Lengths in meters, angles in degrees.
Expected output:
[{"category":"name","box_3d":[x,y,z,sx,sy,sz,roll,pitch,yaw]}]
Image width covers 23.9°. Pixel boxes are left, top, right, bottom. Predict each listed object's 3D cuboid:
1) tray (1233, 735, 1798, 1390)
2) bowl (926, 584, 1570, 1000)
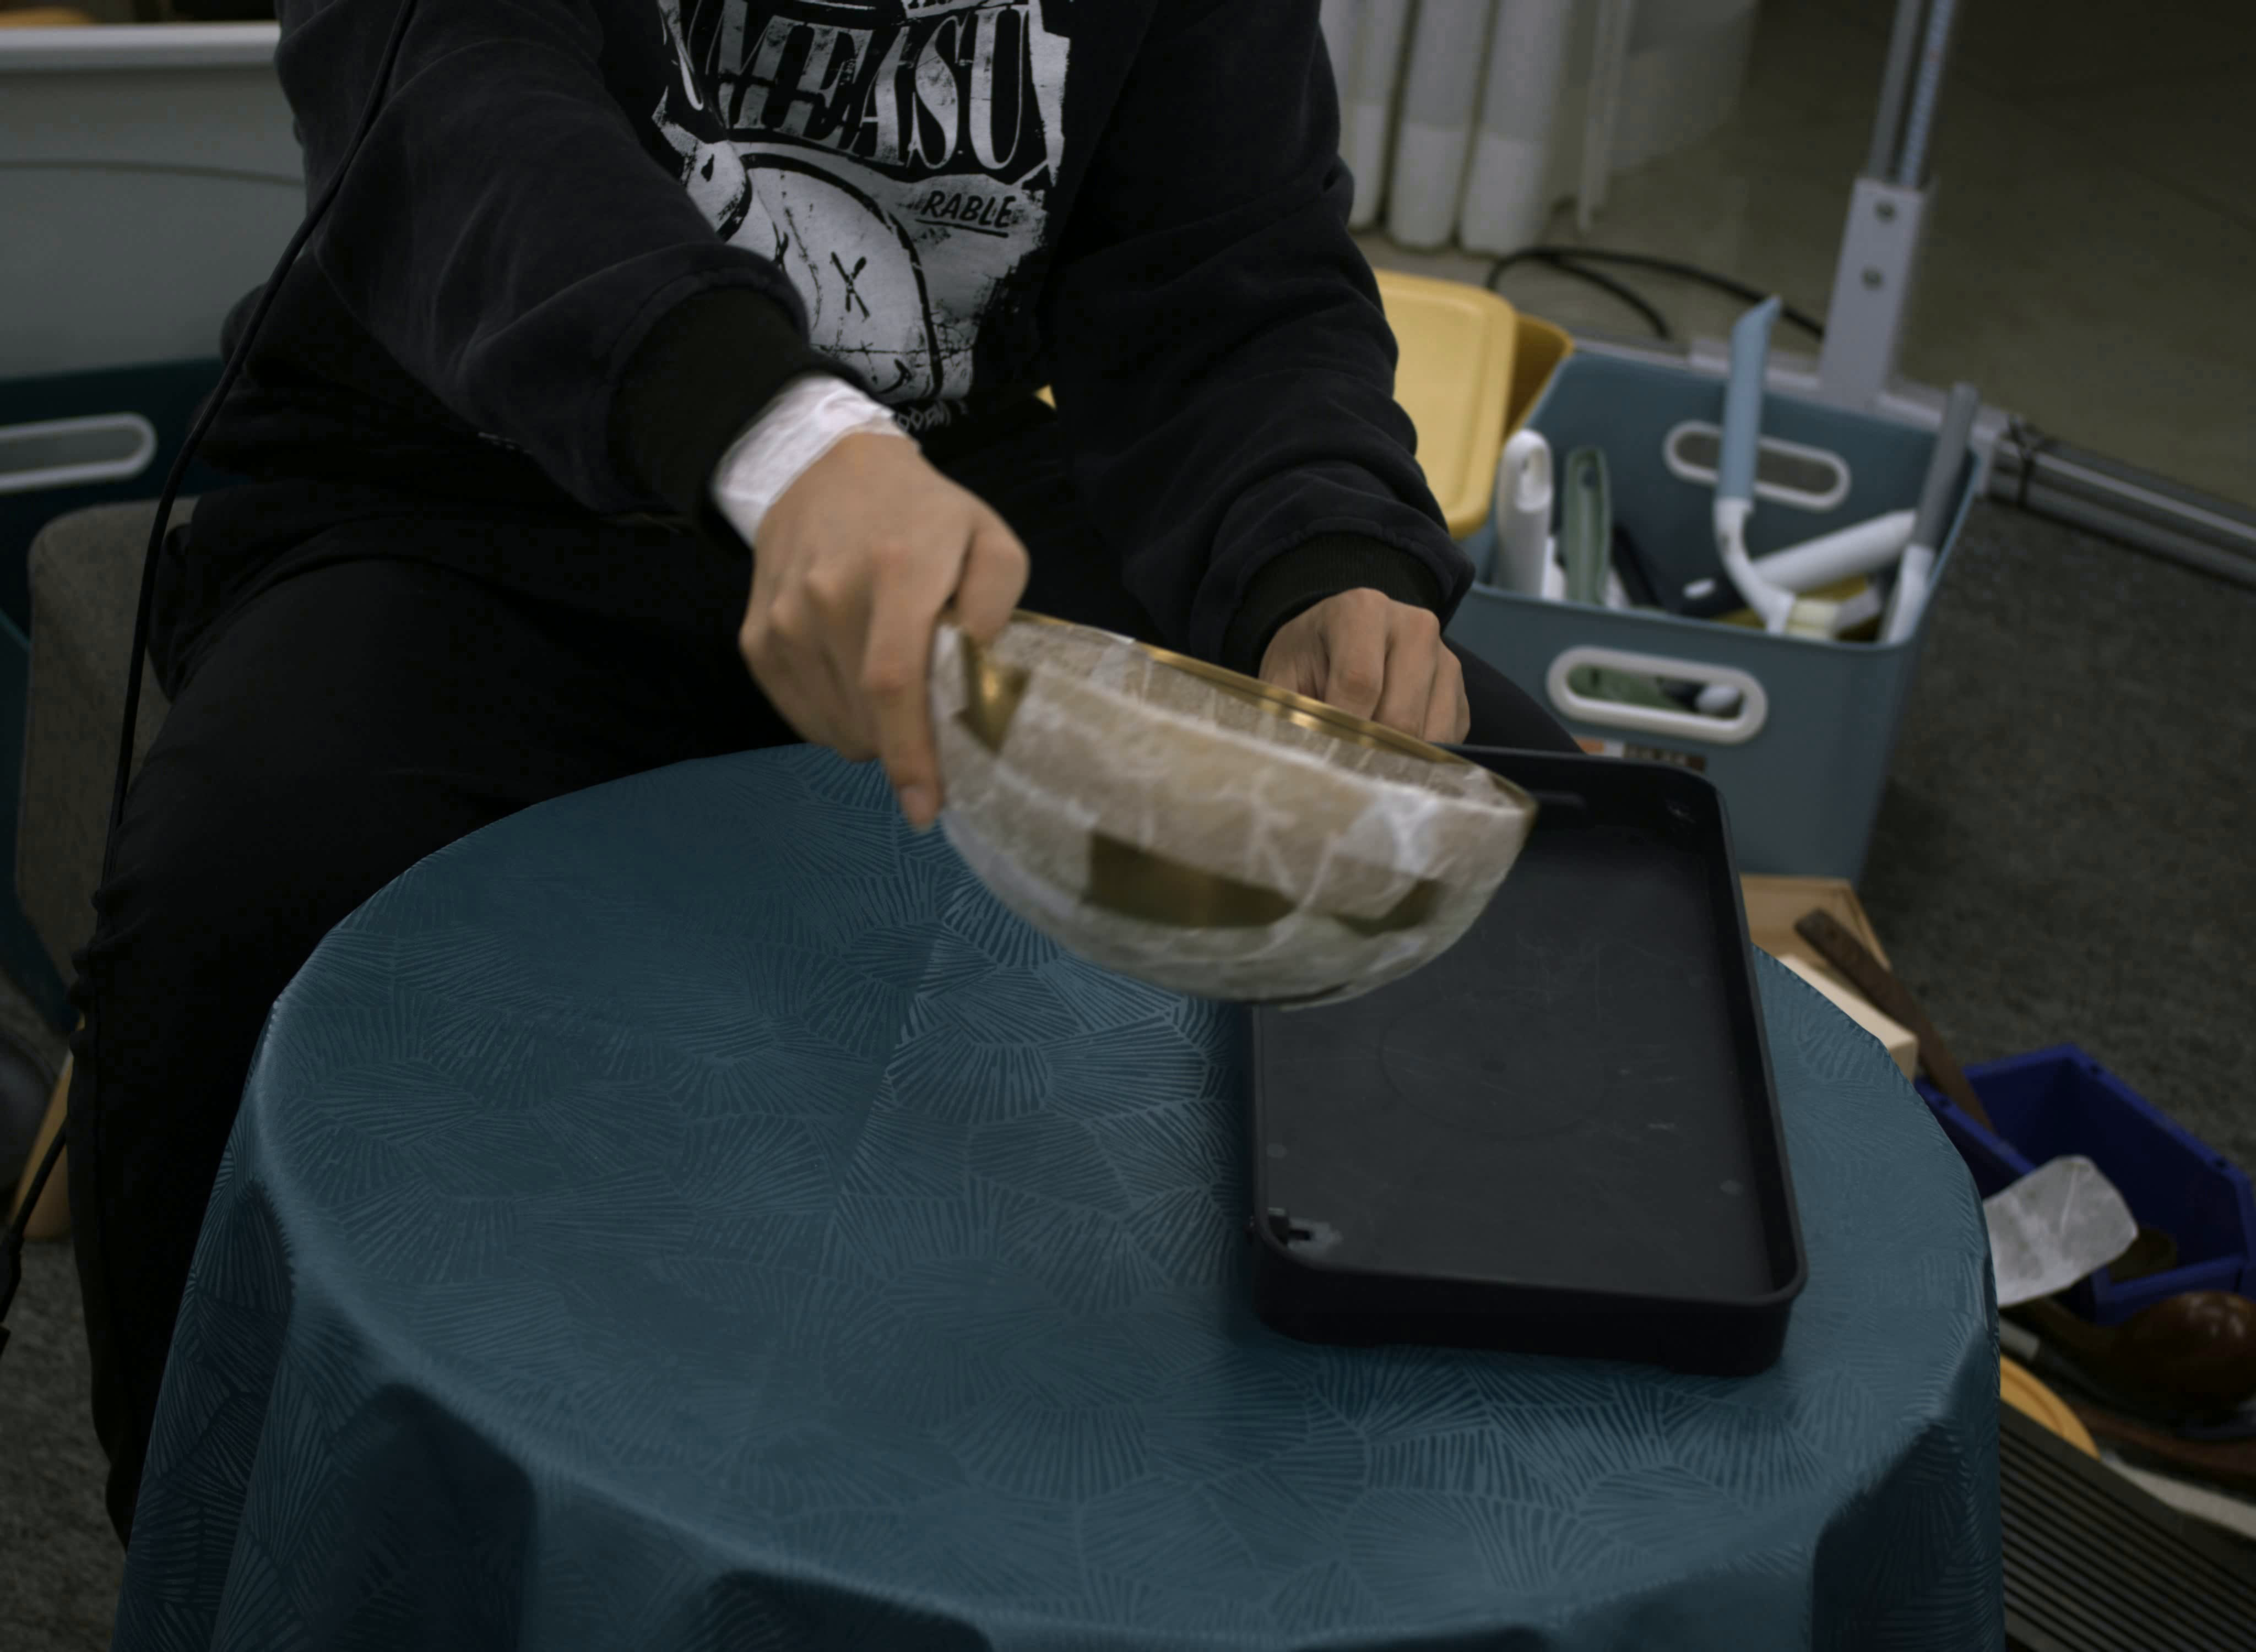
[{"category":"tray","box_3d":[0.128,0.074,1.851,0.183,0.037,0.320,6,35,-2]},{"category":"bowl","box_3d":[0.024,0.000,1.674,0.214,0.094,0.215,18,6,-2]}]
